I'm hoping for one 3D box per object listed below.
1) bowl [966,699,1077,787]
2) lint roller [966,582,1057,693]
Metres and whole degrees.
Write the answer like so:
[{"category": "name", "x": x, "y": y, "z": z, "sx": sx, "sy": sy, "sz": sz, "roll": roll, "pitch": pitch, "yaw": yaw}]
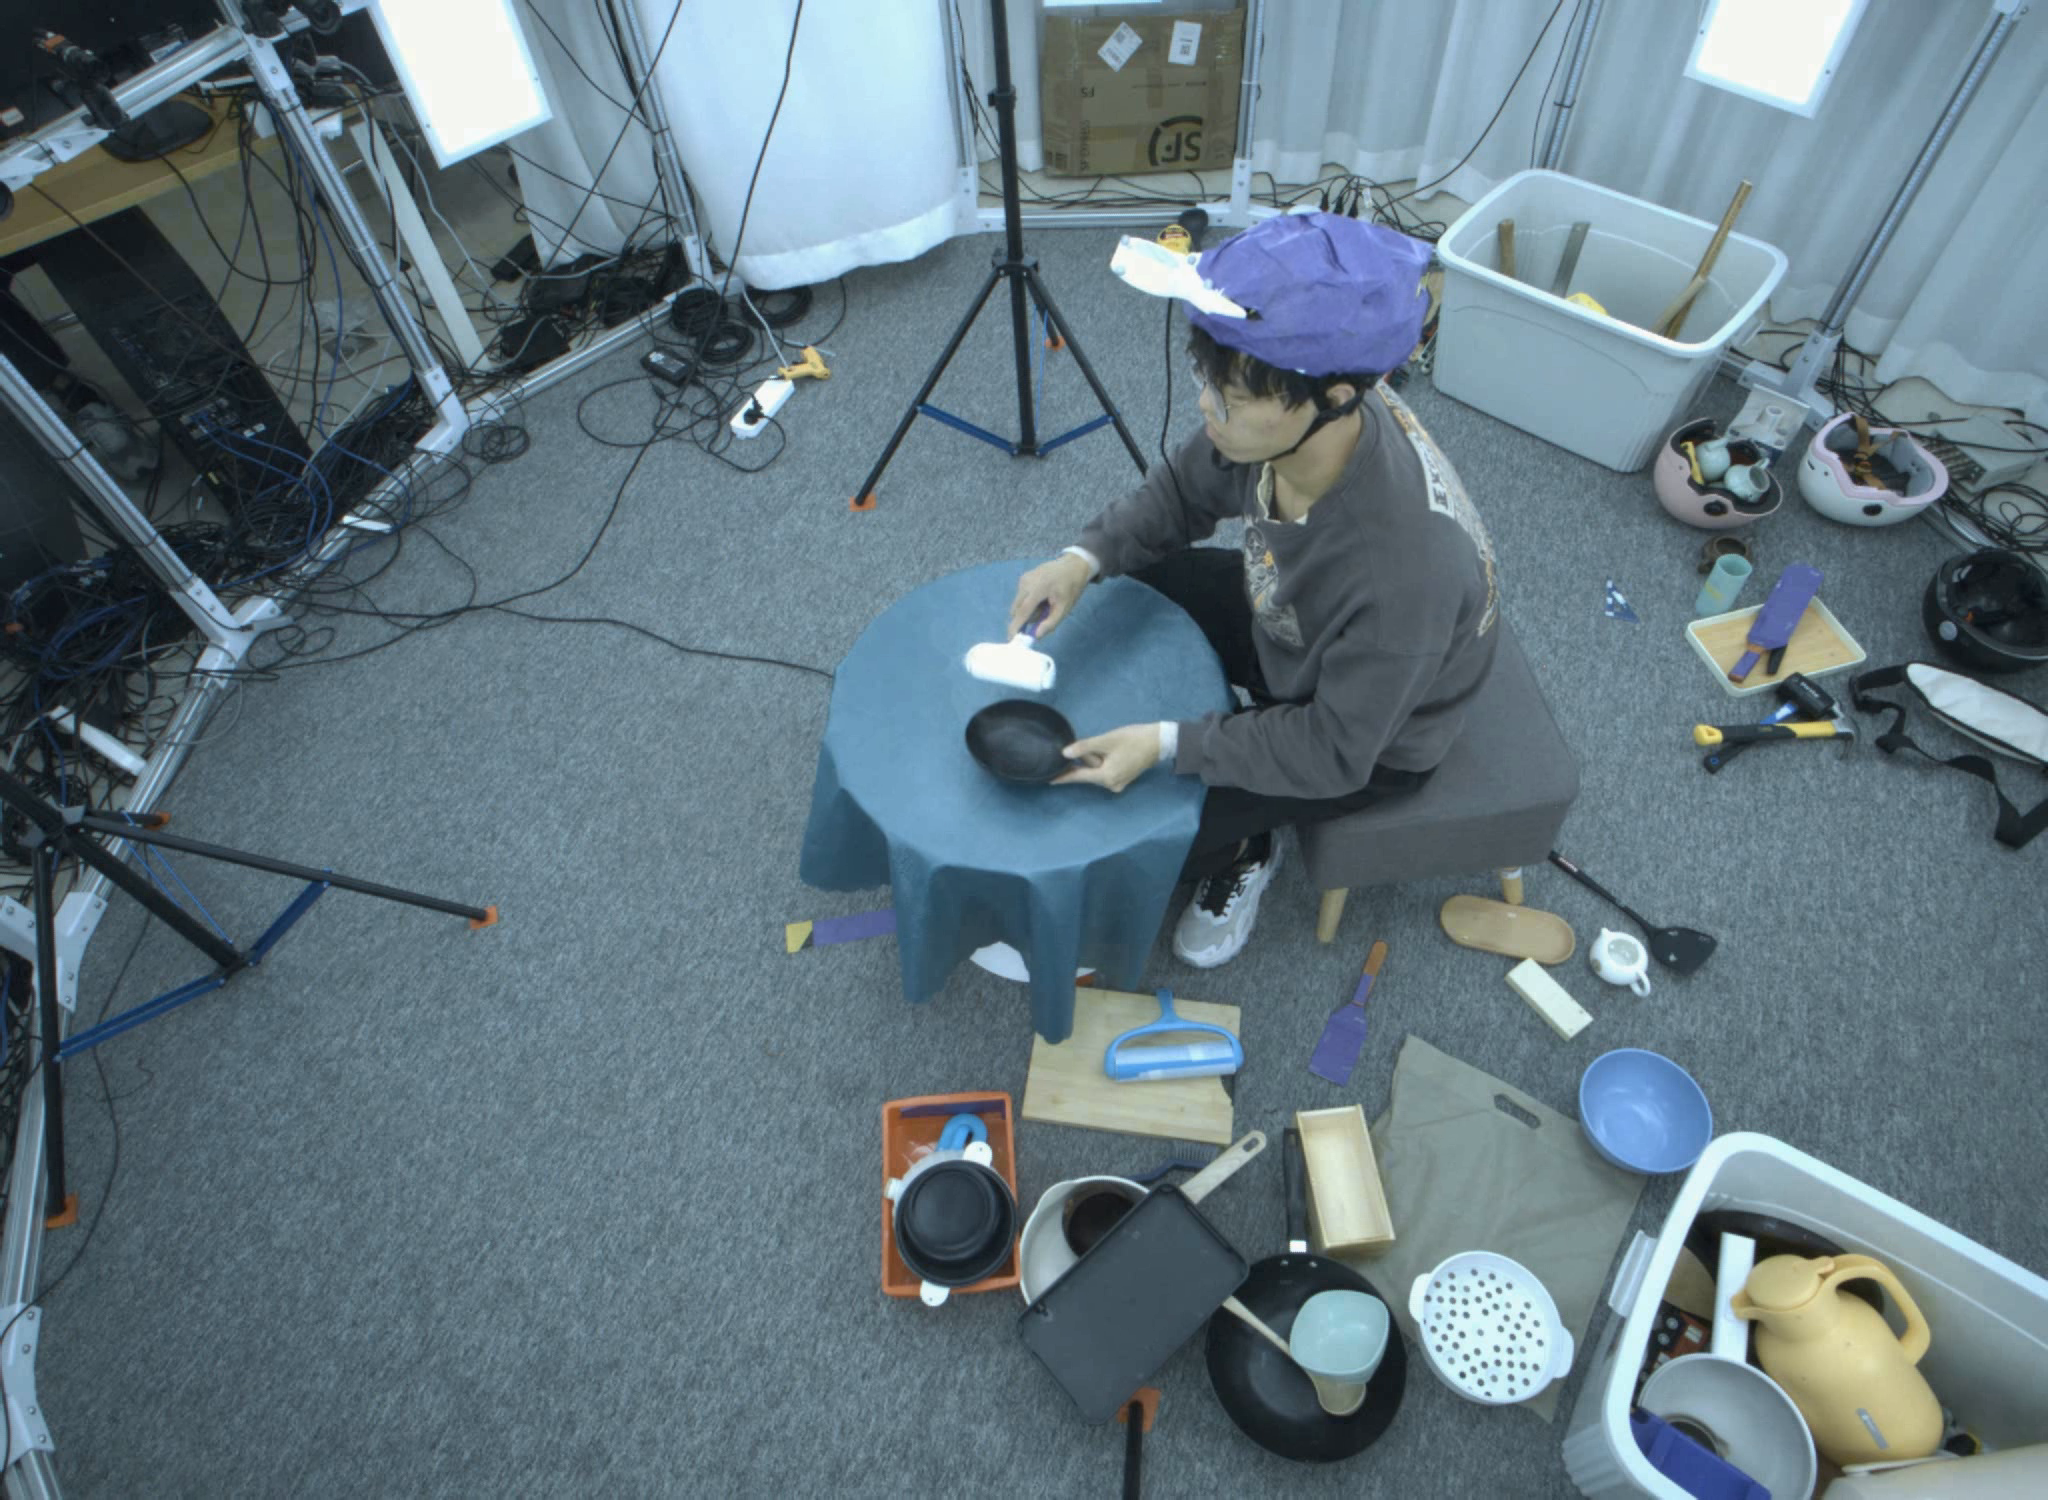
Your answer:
[{"category": "bowl", "x": -0.004, "y": 0.001, "z": 1.745, "sx": 0.167, "sy": 0.067, "sz": 0.138, "roll": 26, "pitch": 58, "yaw": 21}, {"category": "lint roller", "x": 0.004, "y": -0.171, "z": 1.757, "sx": 0.131, "sy": 0.051, "sz": 0.180, "roll": 16, "pitch": 72, "yaw": 20}]
